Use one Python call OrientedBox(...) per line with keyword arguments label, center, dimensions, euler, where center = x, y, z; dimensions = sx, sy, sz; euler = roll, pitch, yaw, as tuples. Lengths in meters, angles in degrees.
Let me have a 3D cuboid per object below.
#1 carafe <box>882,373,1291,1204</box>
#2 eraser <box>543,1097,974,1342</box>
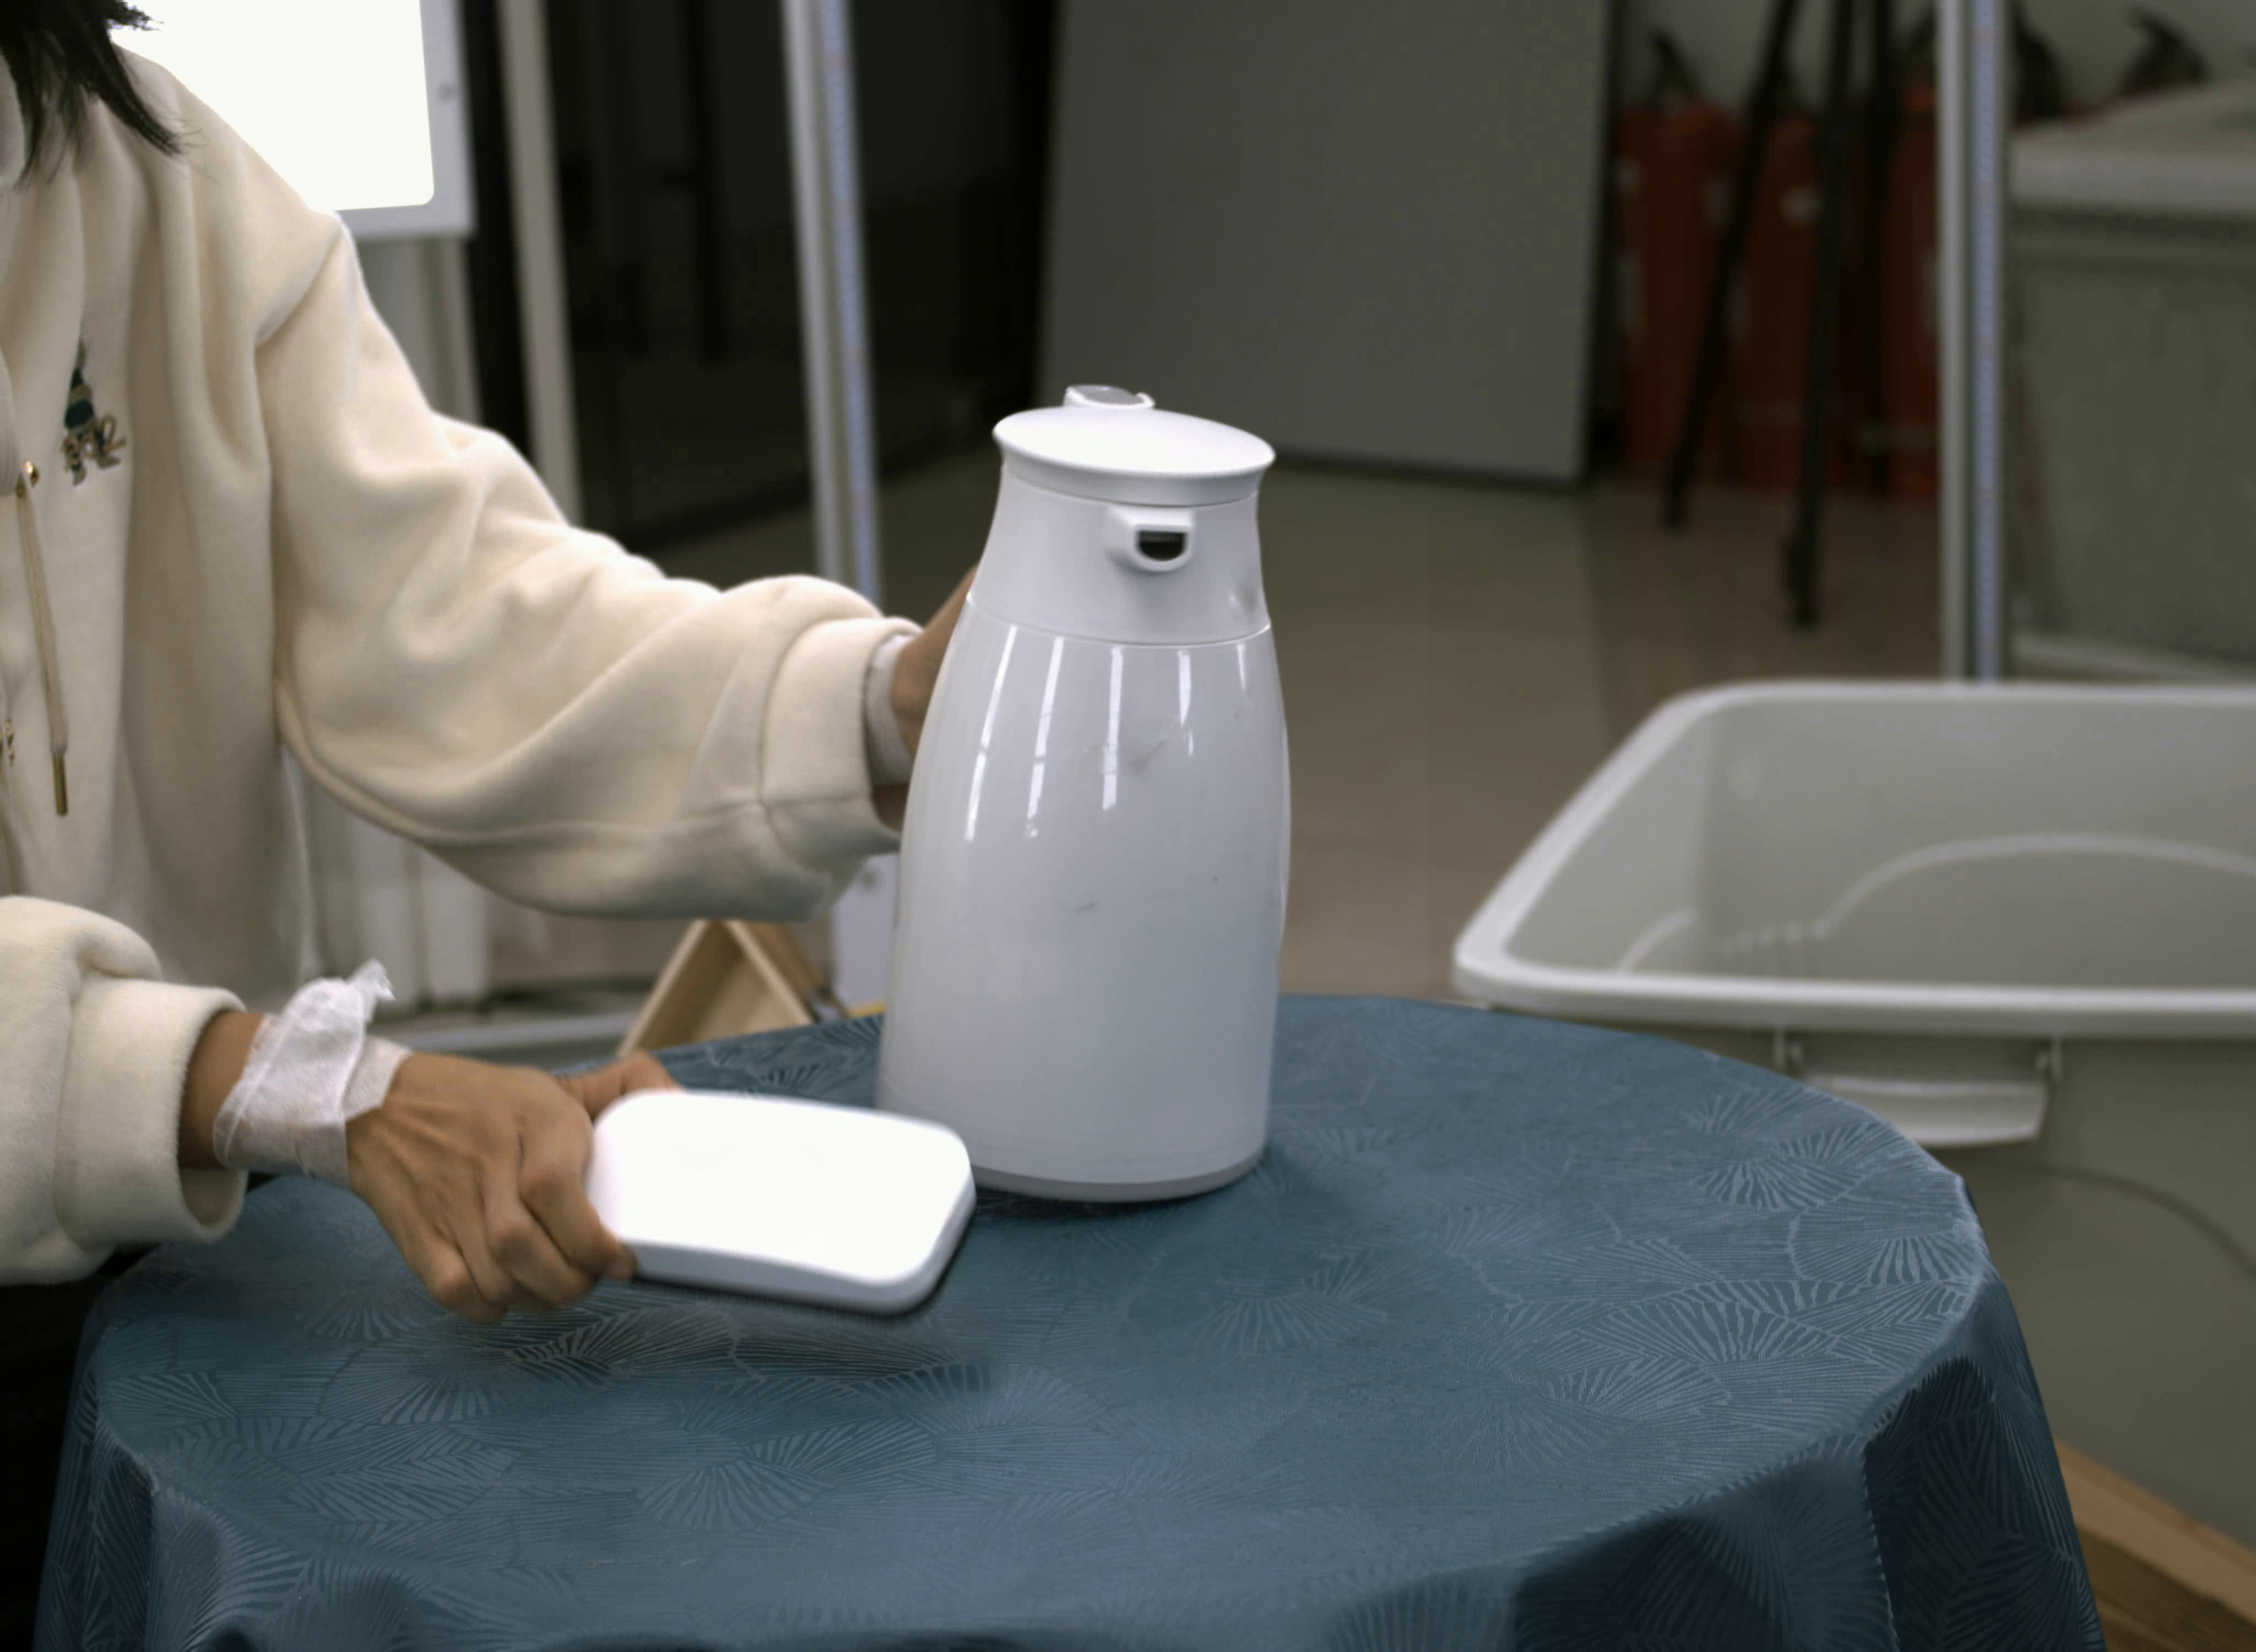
OrientedBox(label="carafe", center=(-0.013, -0.021, 1.788), dimensions=(0.130, 0.251, 0.169), euler=(1, 15, -10))
OrientedBox(label="eraser", center=(-0.111, 0.119, 1.639), dimensions=(0.131, 0.034, 0.063), euler=(6, 44, 26))
